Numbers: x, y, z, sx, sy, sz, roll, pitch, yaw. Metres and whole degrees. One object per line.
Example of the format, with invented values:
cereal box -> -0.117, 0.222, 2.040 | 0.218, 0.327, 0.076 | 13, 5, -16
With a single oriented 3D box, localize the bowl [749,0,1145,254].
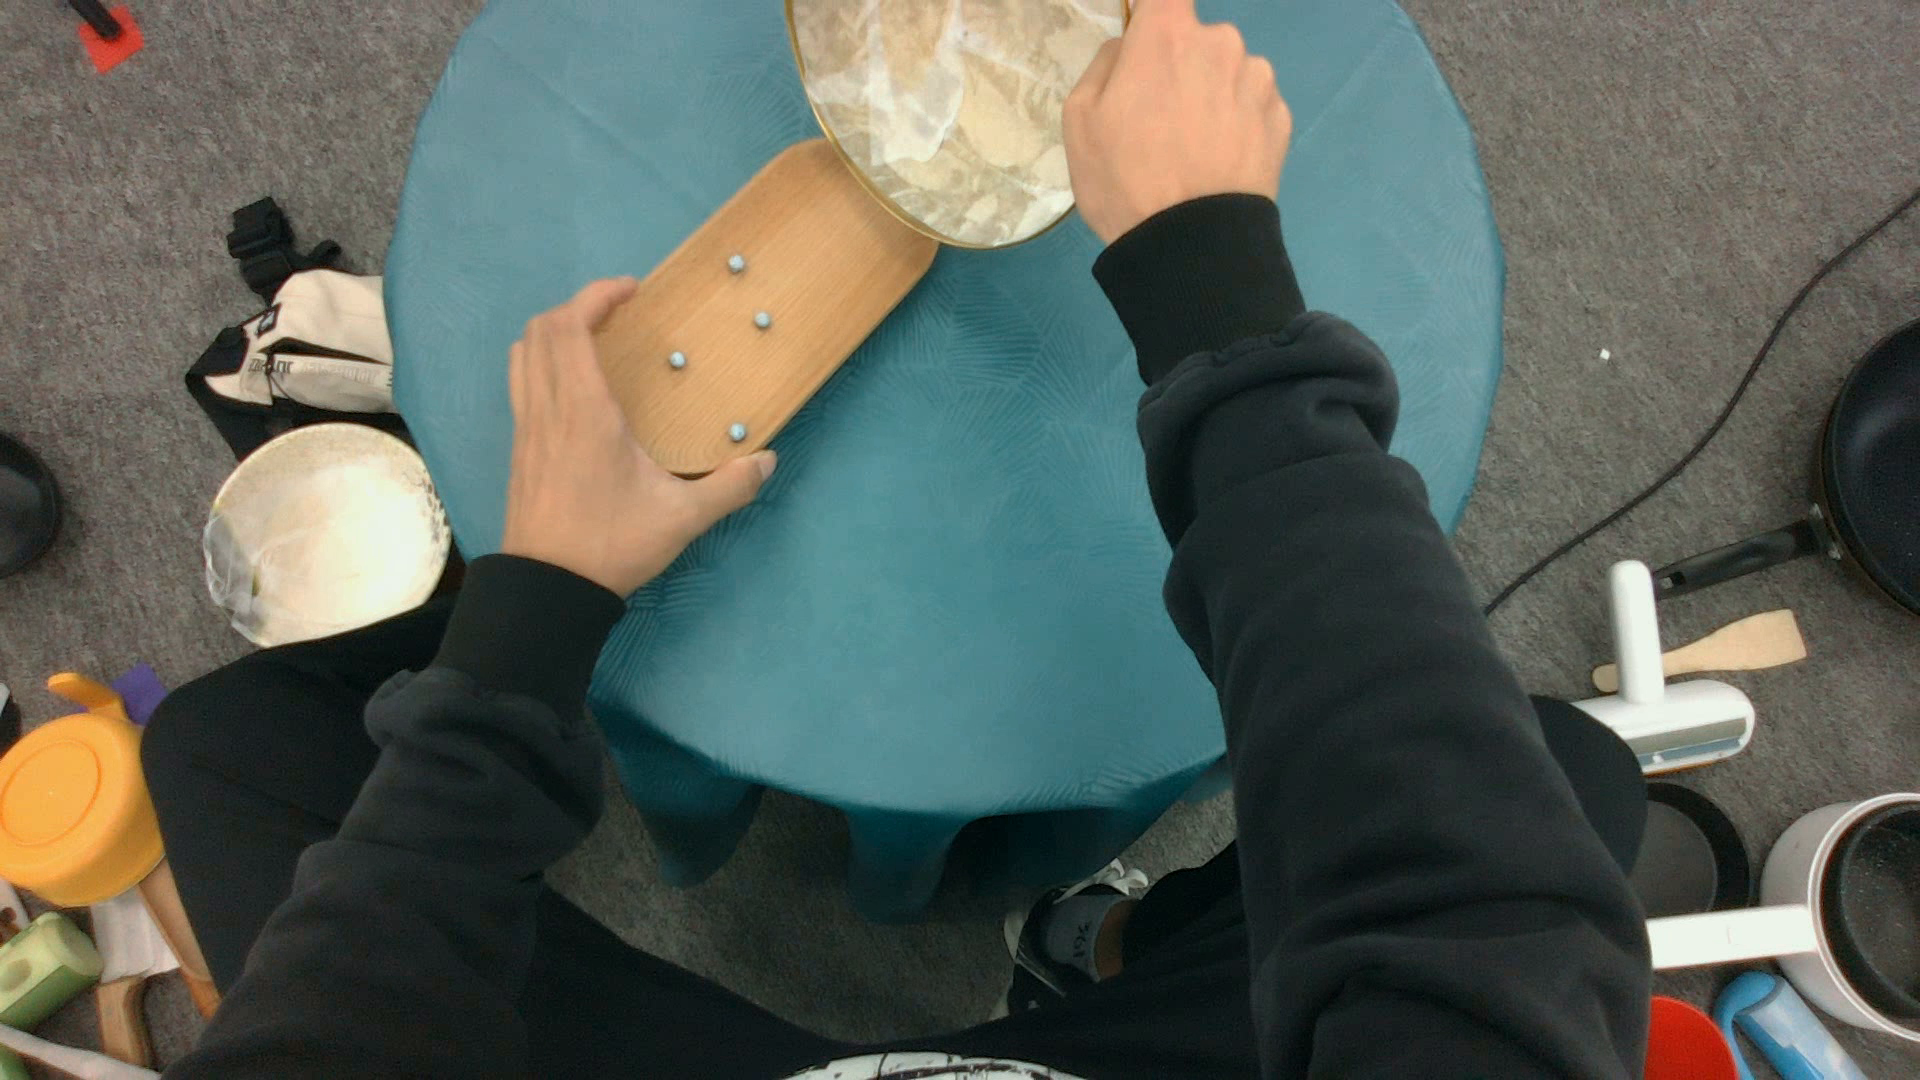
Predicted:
bowl -> 0.008, -0.249, 0.644 | 0.215, 0.213, 0.095 | 46, 51, 7

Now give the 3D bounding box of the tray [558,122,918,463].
tray -> -0.107, -0.130, 0.700 | 0.101, 0.020, 0.232 | 36, 62, 2
